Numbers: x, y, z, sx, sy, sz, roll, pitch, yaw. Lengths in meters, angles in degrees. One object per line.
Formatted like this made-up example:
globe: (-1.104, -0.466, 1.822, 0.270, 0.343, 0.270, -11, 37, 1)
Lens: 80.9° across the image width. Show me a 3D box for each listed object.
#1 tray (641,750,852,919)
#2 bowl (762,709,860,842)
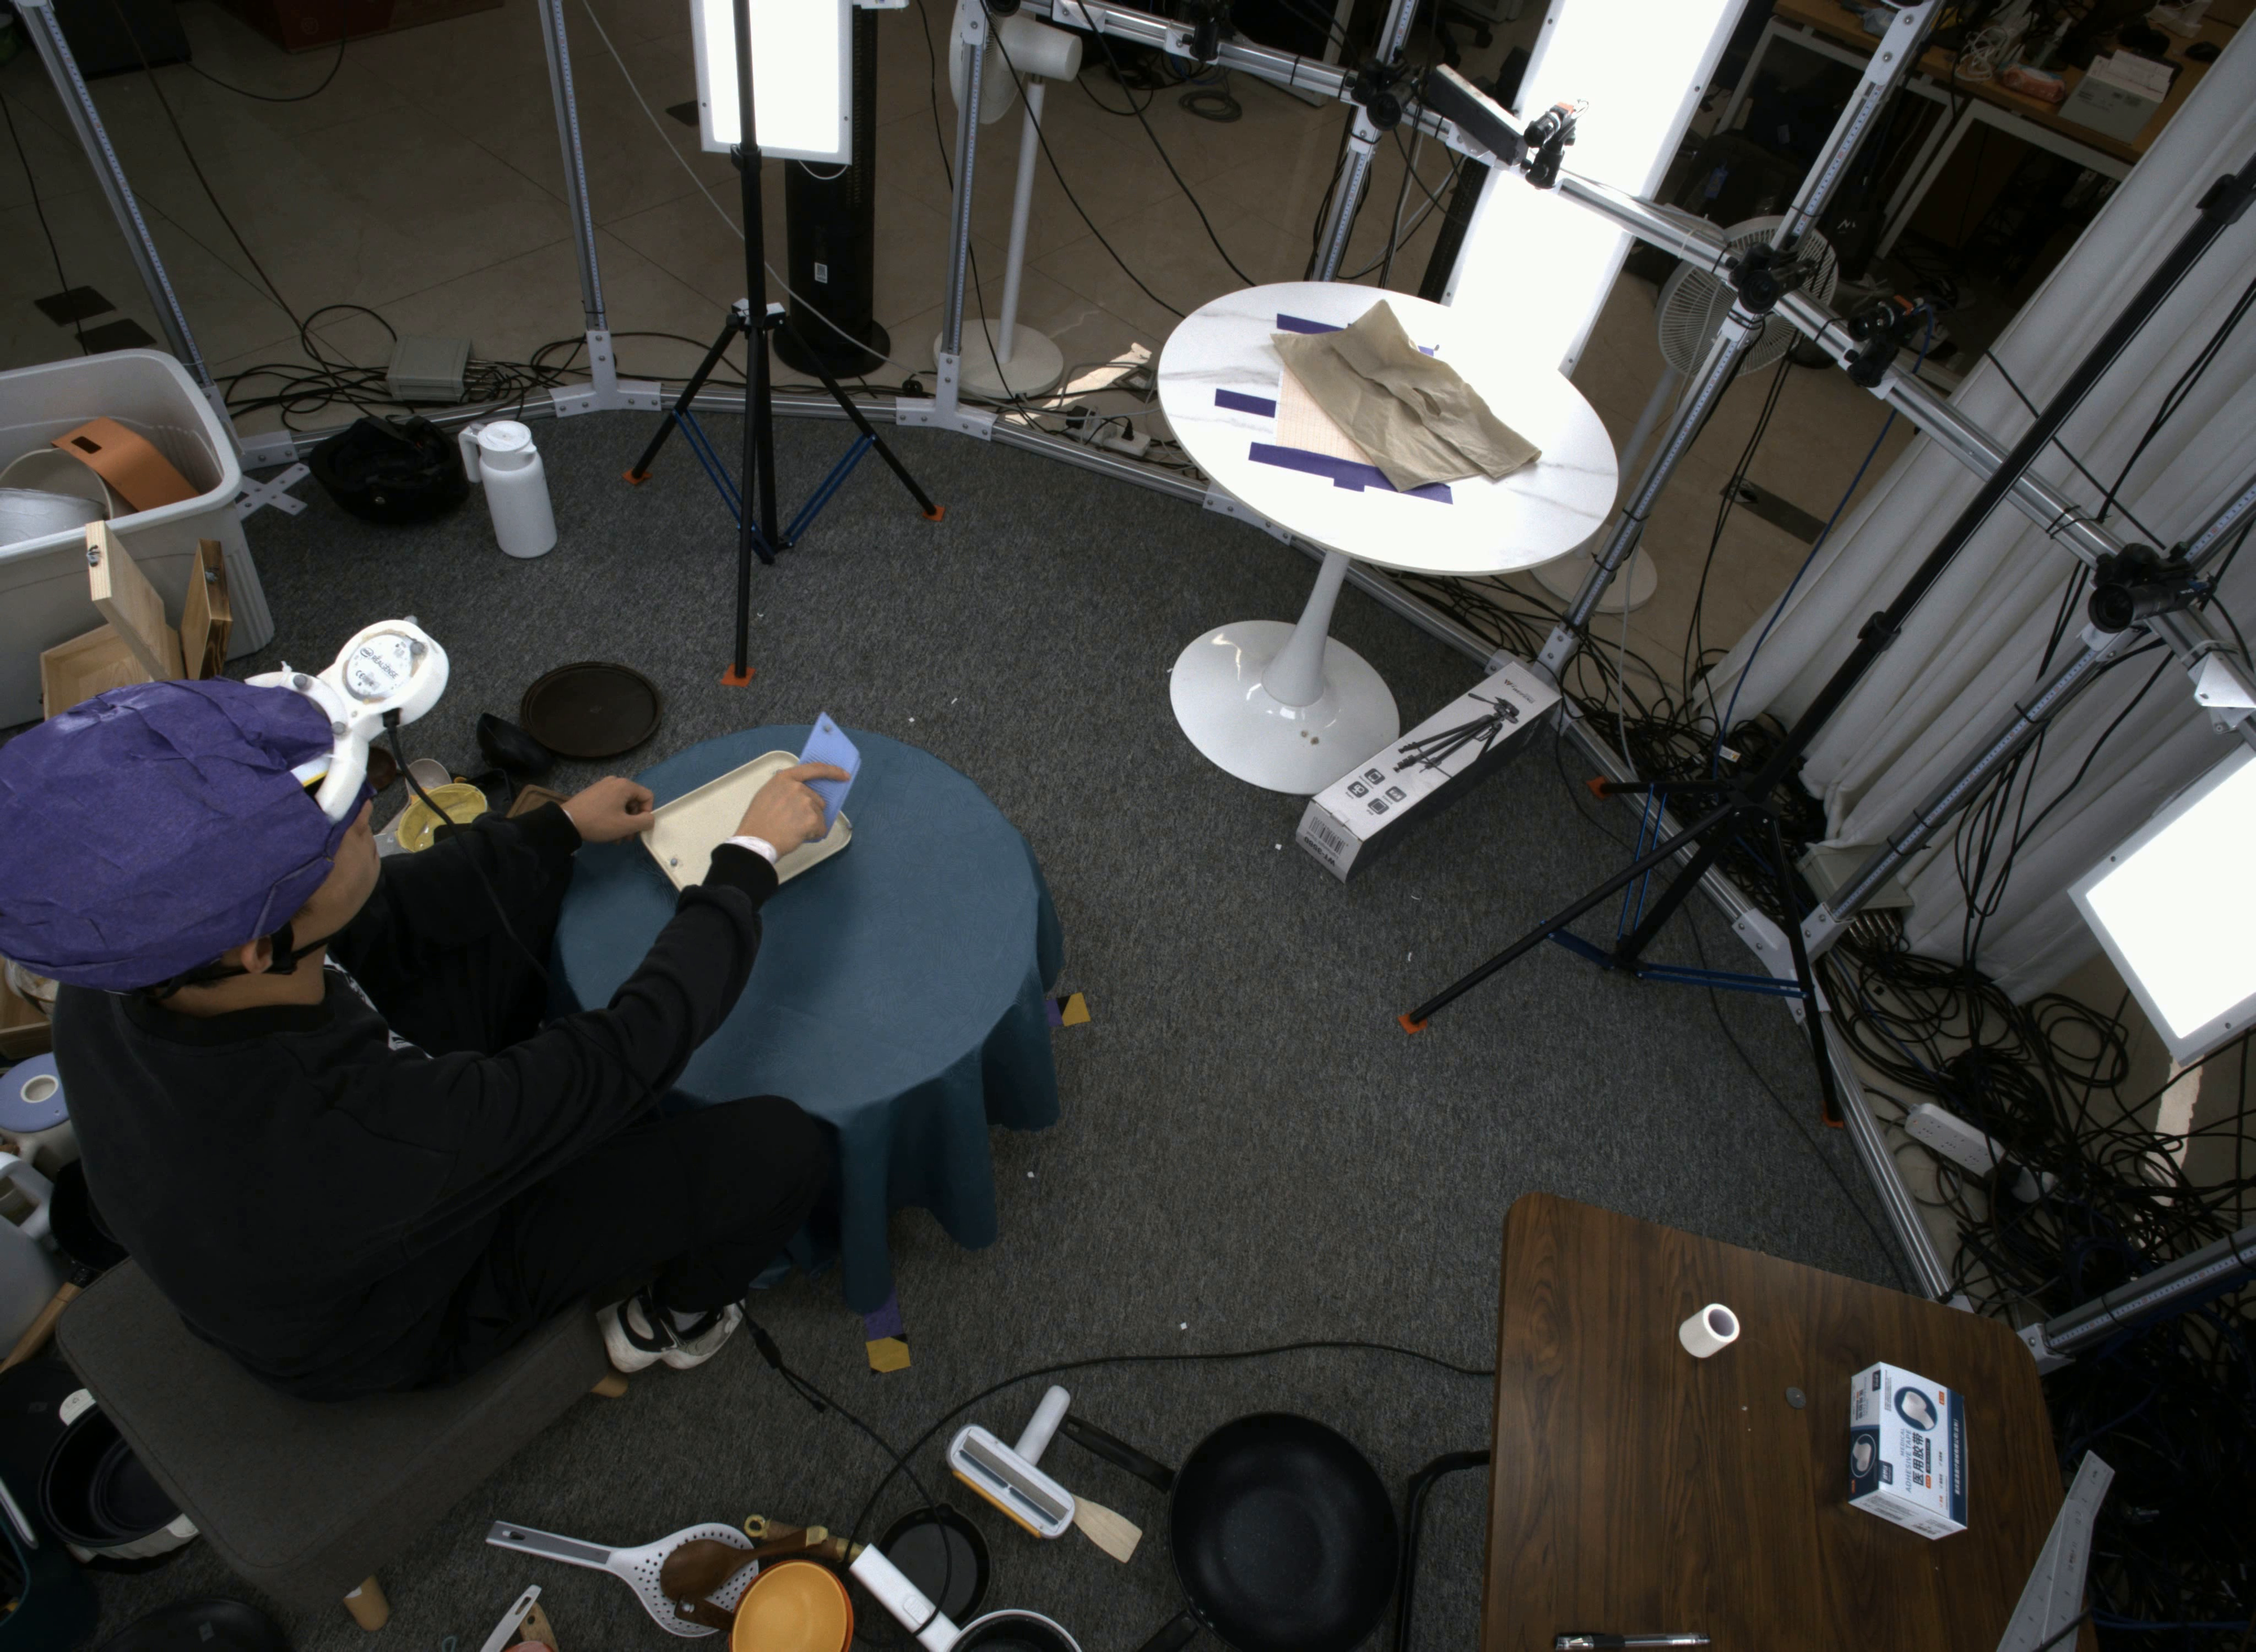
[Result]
tray: (-0.492, 0.007, 1.674, 0.240, 0.017, 0.169, -34, 79, -34)
bowl: (-0.381, -0.049, 1.584, 0.071, 0.176, 0.173, 26, 49, -15)
